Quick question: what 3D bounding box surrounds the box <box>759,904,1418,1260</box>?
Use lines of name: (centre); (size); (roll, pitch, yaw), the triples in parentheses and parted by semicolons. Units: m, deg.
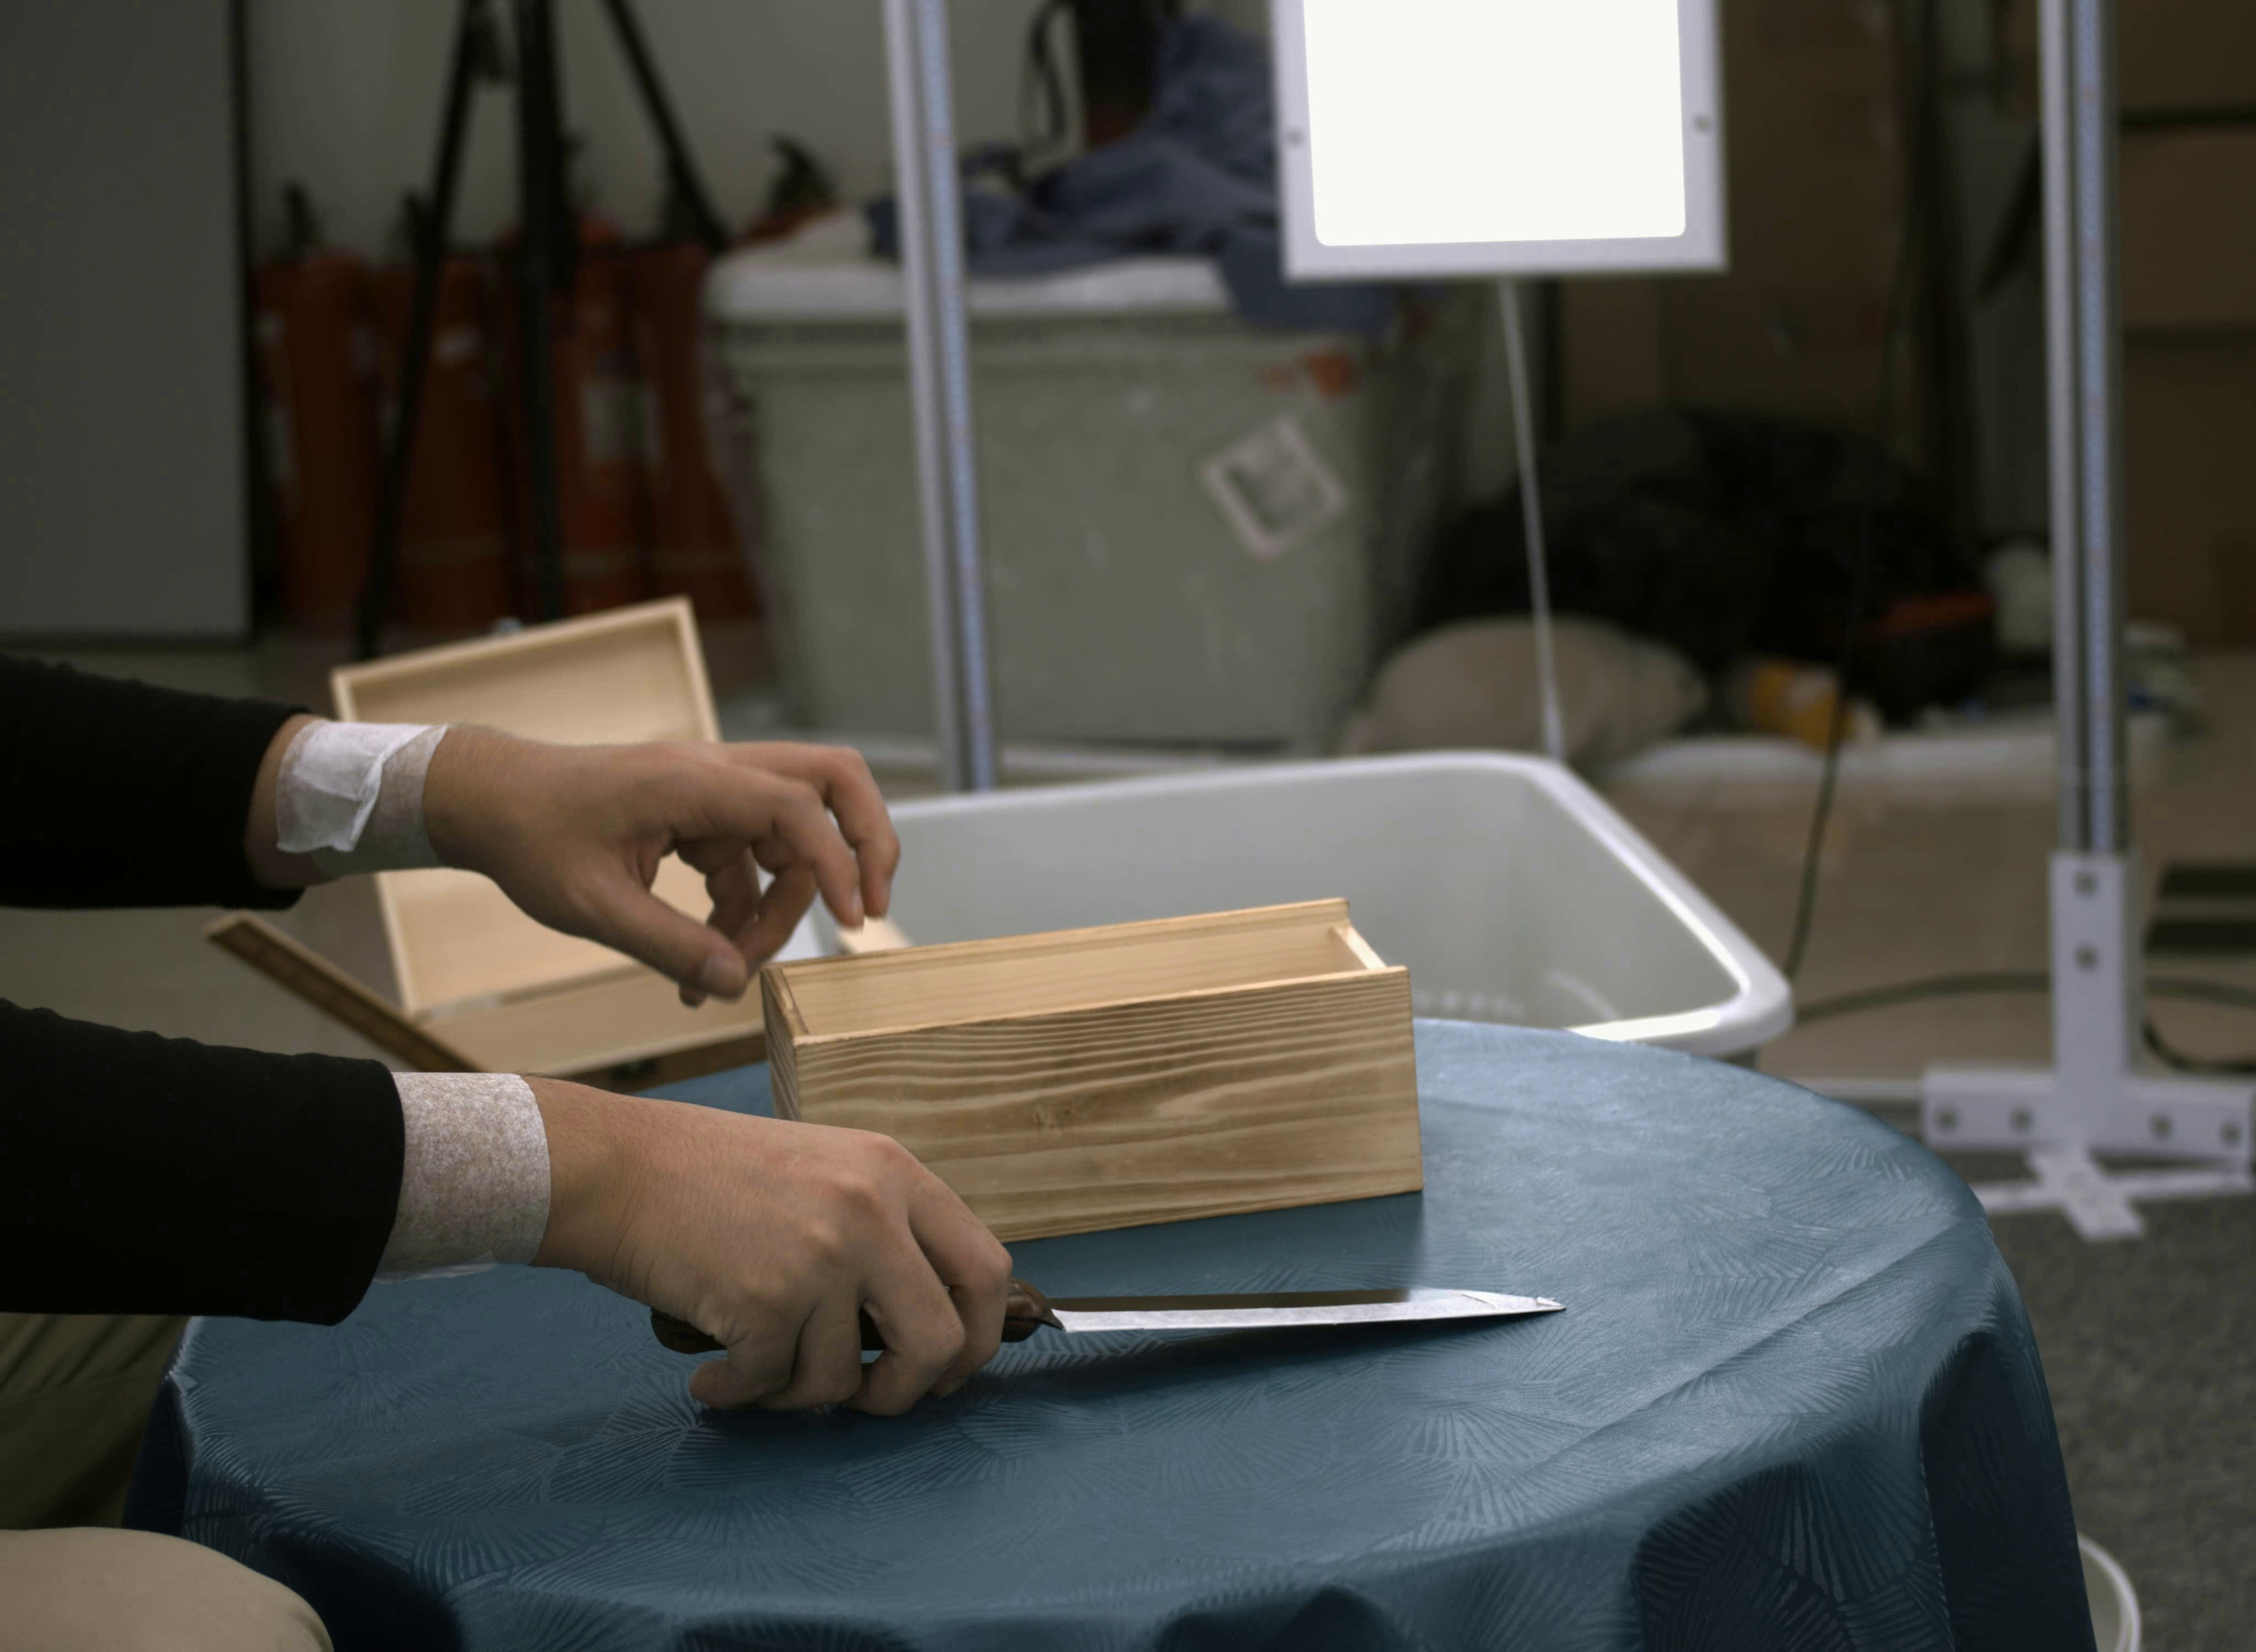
box: (-0.015, 0.087, 1.900); (0.209, 0.080, 0.108); (-6, 13, -7)

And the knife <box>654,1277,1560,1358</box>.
knife: (-0.004, 0.152, 1.722); (0.286, 0.020, 0.050); (0, 10, -9)
